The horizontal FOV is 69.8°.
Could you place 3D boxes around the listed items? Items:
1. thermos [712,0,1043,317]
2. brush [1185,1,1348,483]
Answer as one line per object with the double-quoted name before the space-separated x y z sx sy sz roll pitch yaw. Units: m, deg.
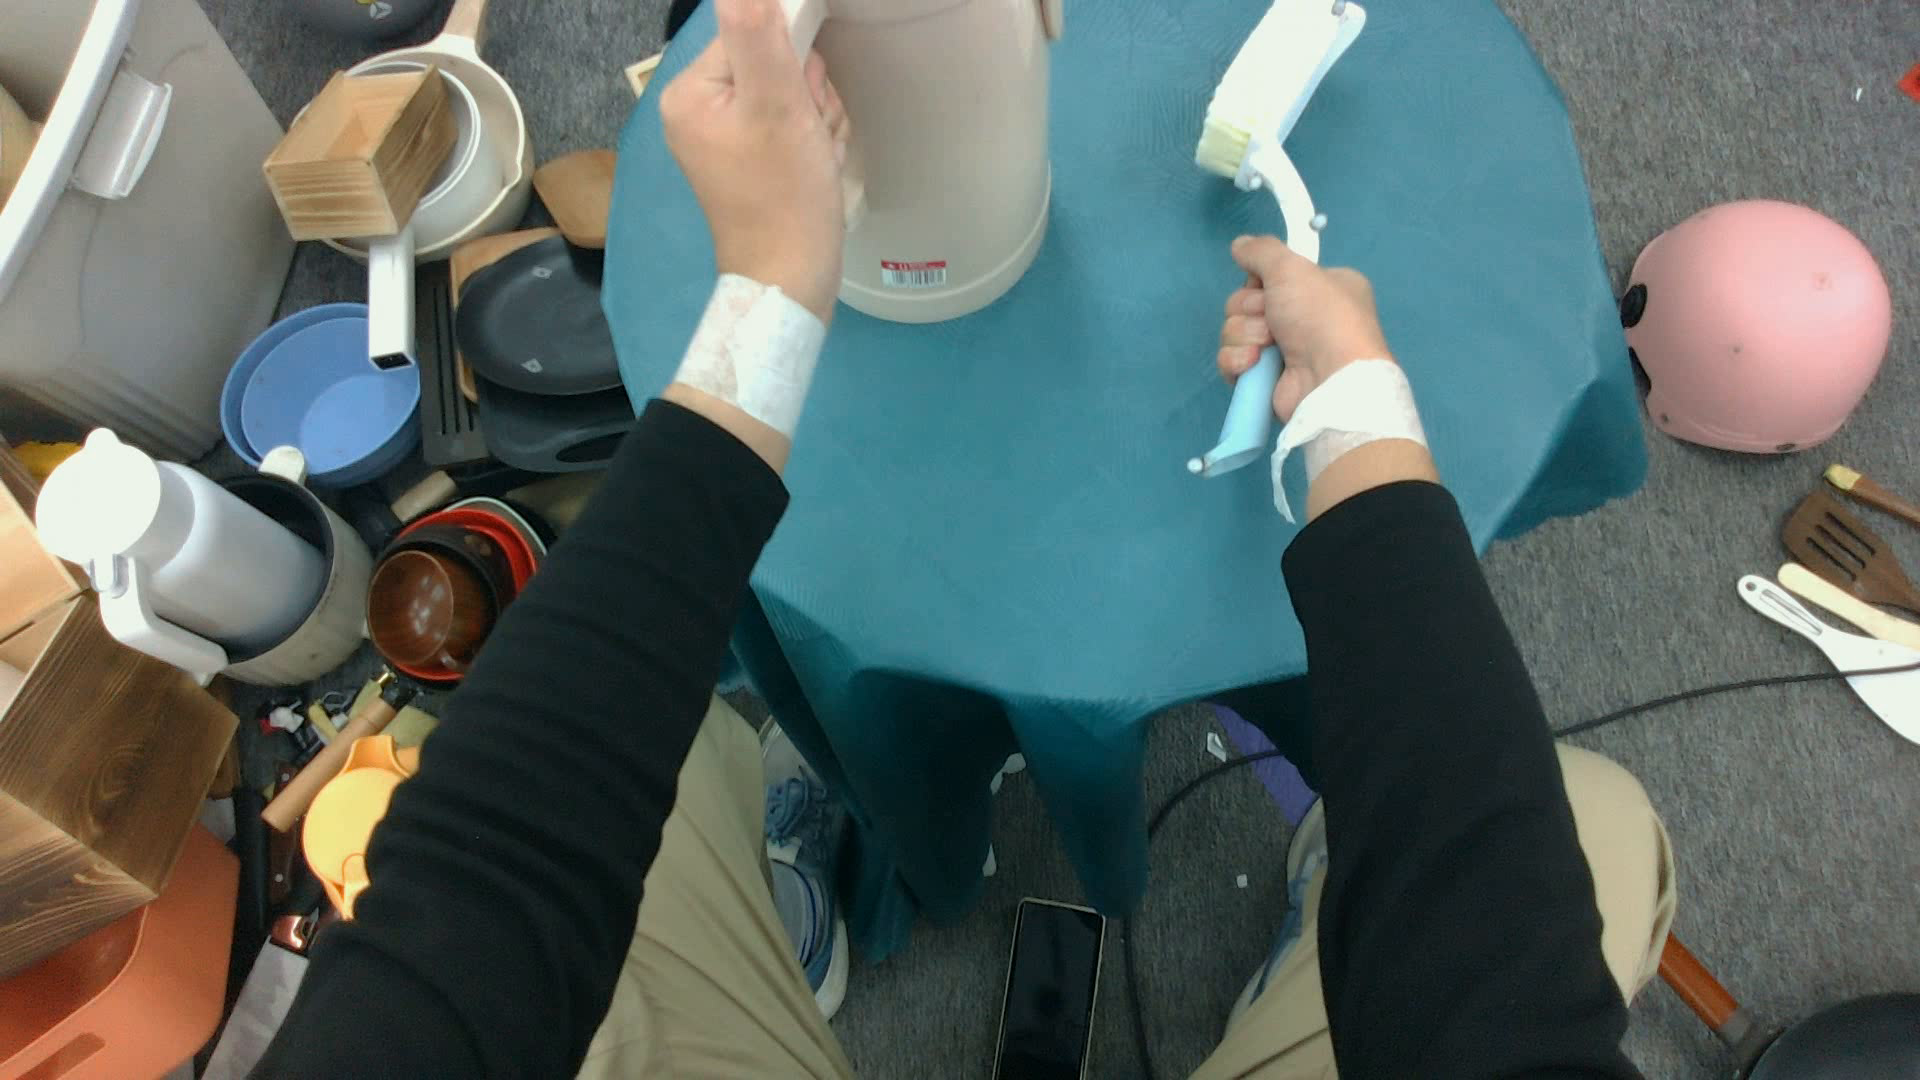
"thermos" -0.048 -0.257 0.657 0.175 0.405 0.207 19 73 6
"brush" 0.146 -0.181 0.766 0.084 0.083 0.326 -1 59 39
